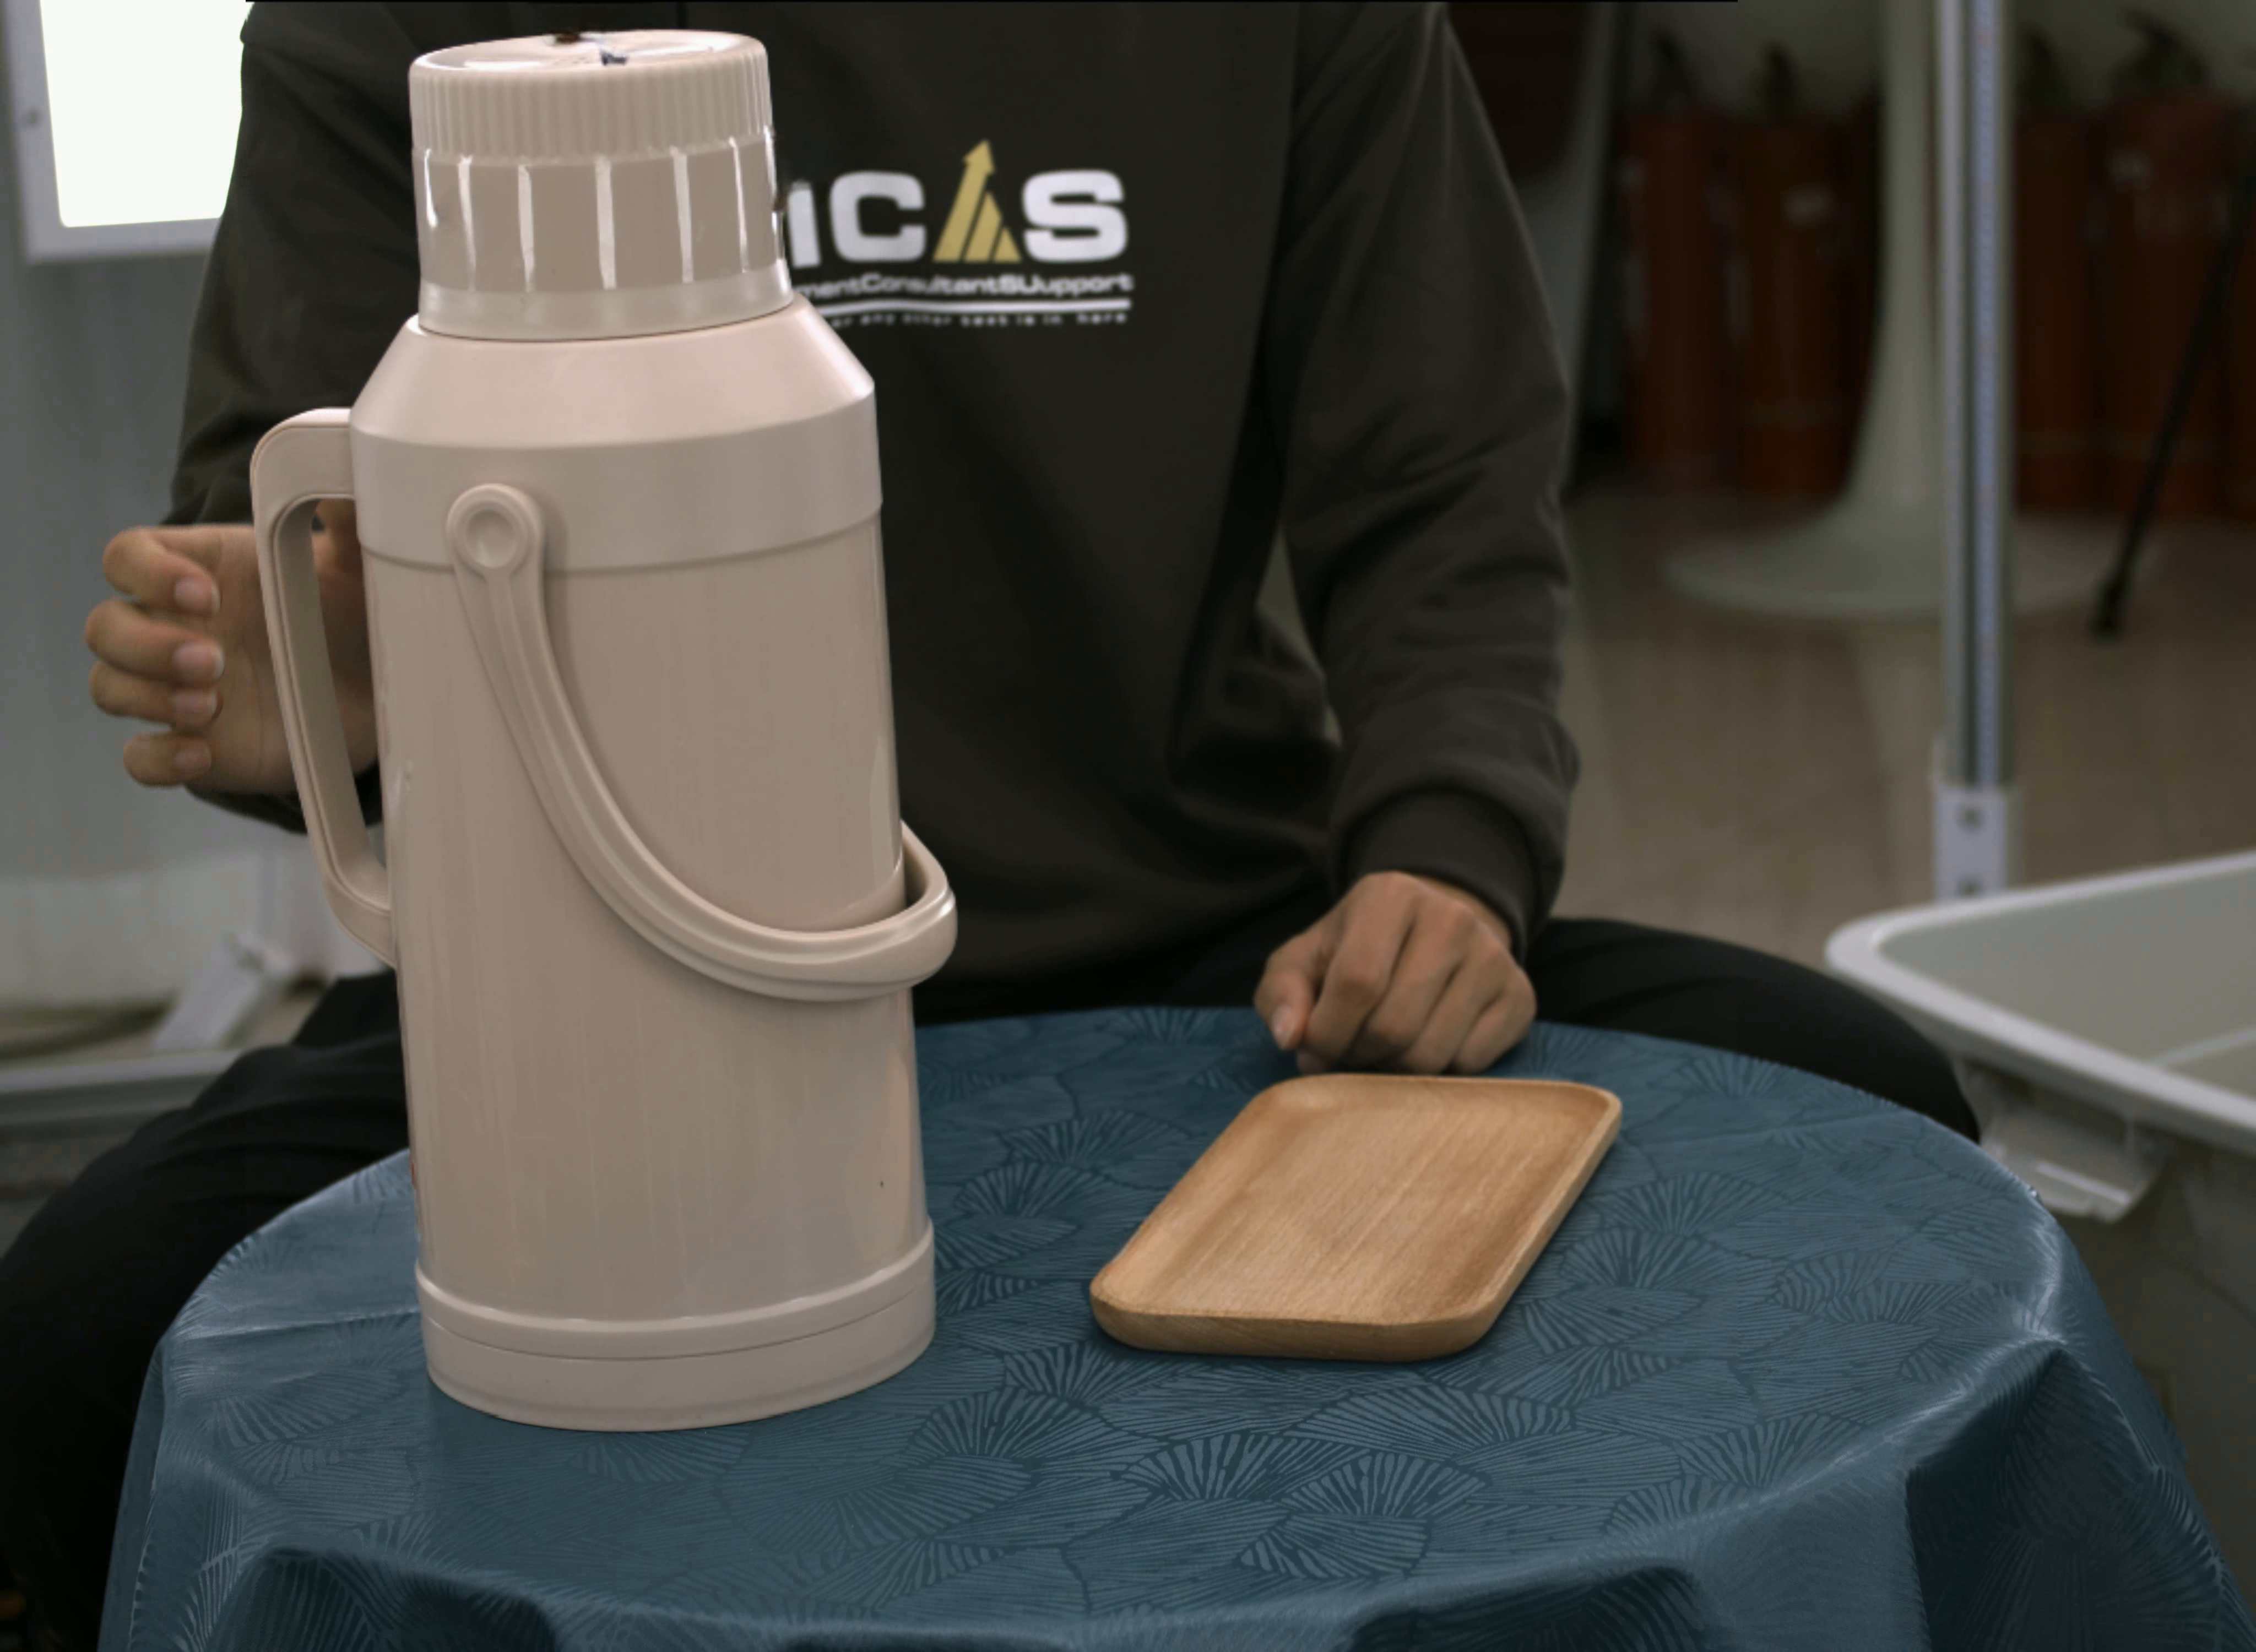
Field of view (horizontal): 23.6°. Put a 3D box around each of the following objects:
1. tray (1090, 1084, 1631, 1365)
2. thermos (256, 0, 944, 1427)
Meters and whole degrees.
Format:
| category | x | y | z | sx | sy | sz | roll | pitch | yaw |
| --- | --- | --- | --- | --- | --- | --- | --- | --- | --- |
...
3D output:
| category | x | y | z | sx | sy | sz | roll | pitch | yaw |
| --- | --- | --- | --- | --- | --- | --- | --- | --- | --- |
| tray | 0.078 | 0.124 | 1.712 | 0.130 | 0.023 | 0.248 | 3 | 14 | 18 |
| thermos | -0.158 | -0.036 | 1.618 | 0.207 | 0.411 | 0.173 | 2 | 15 | 20 |
